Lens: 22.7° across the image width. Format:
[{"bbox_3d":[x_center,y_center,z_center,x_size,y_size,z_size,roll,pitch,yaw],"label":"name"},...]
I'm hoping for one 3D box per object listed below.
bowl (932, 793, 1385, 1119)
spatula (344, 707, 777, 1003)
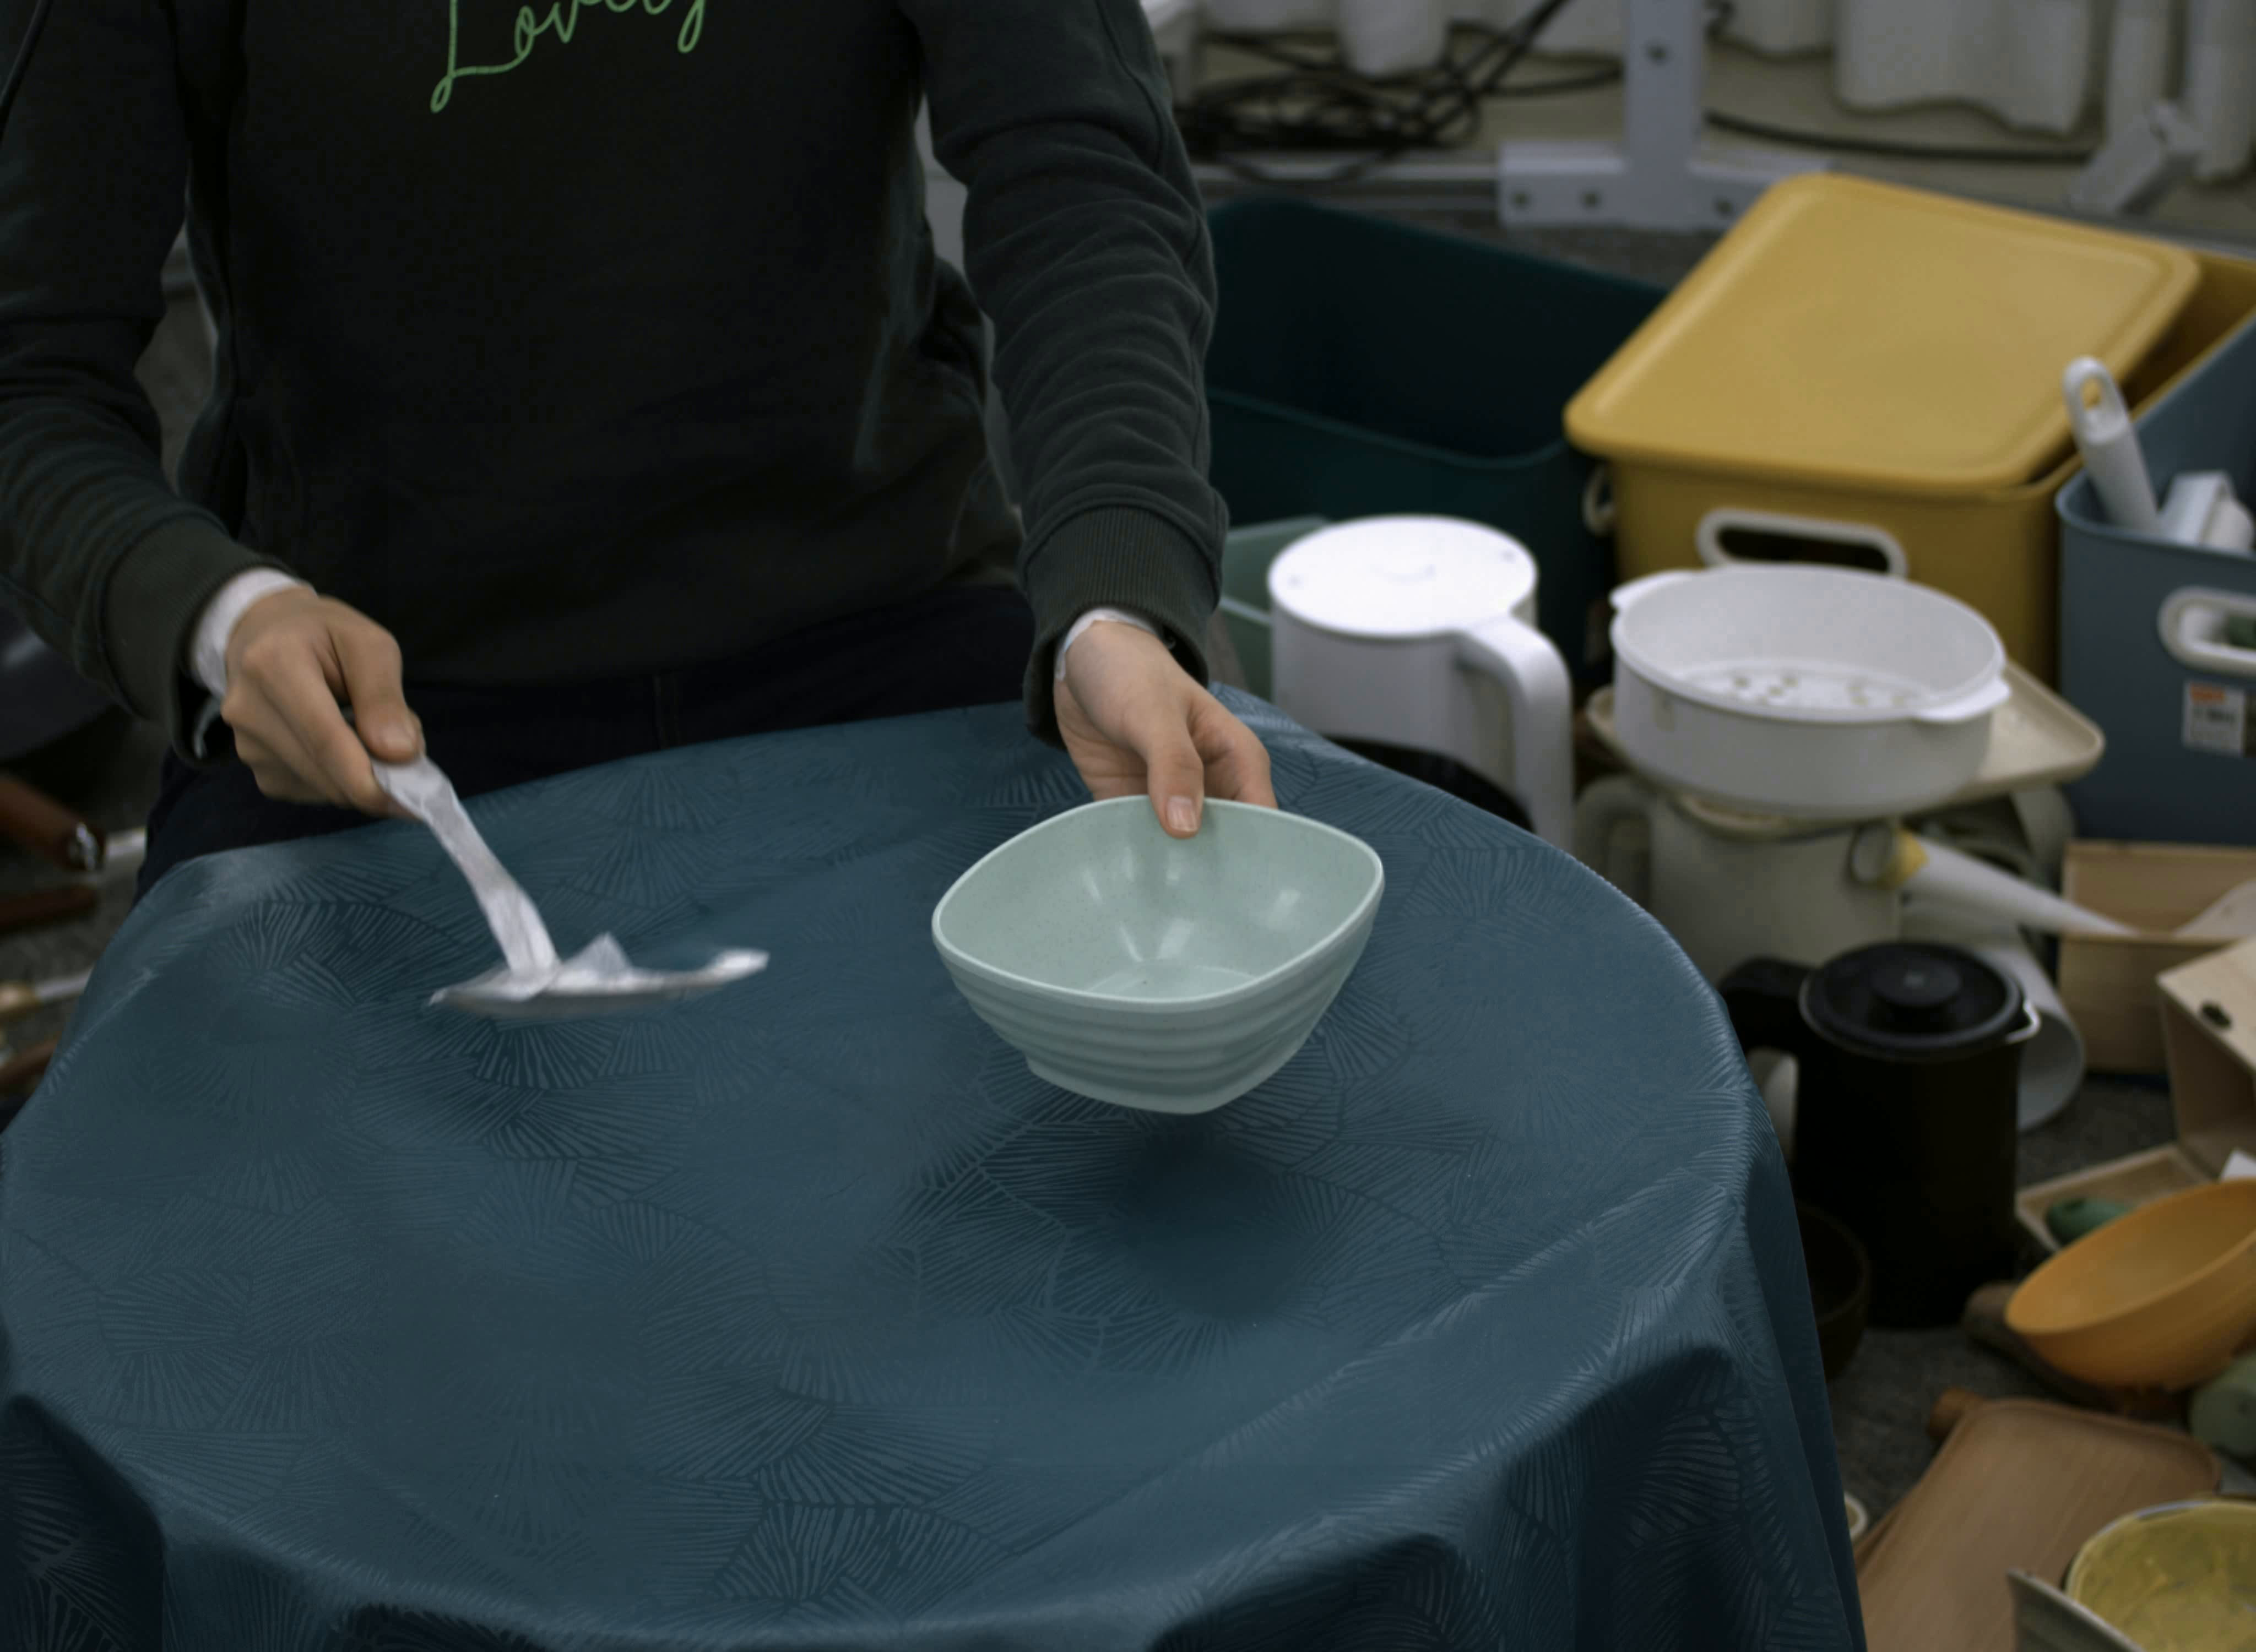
[{"bbox_3d":[0.012,0.048,1.860,0.151,0.058,0.154,-3,27,2],"label":"bowl"},{"bbox_3d":[-0.209,0.001,1.836,0.099,0.044,0.367,-6,21,-20],"label":"spatula"}]
